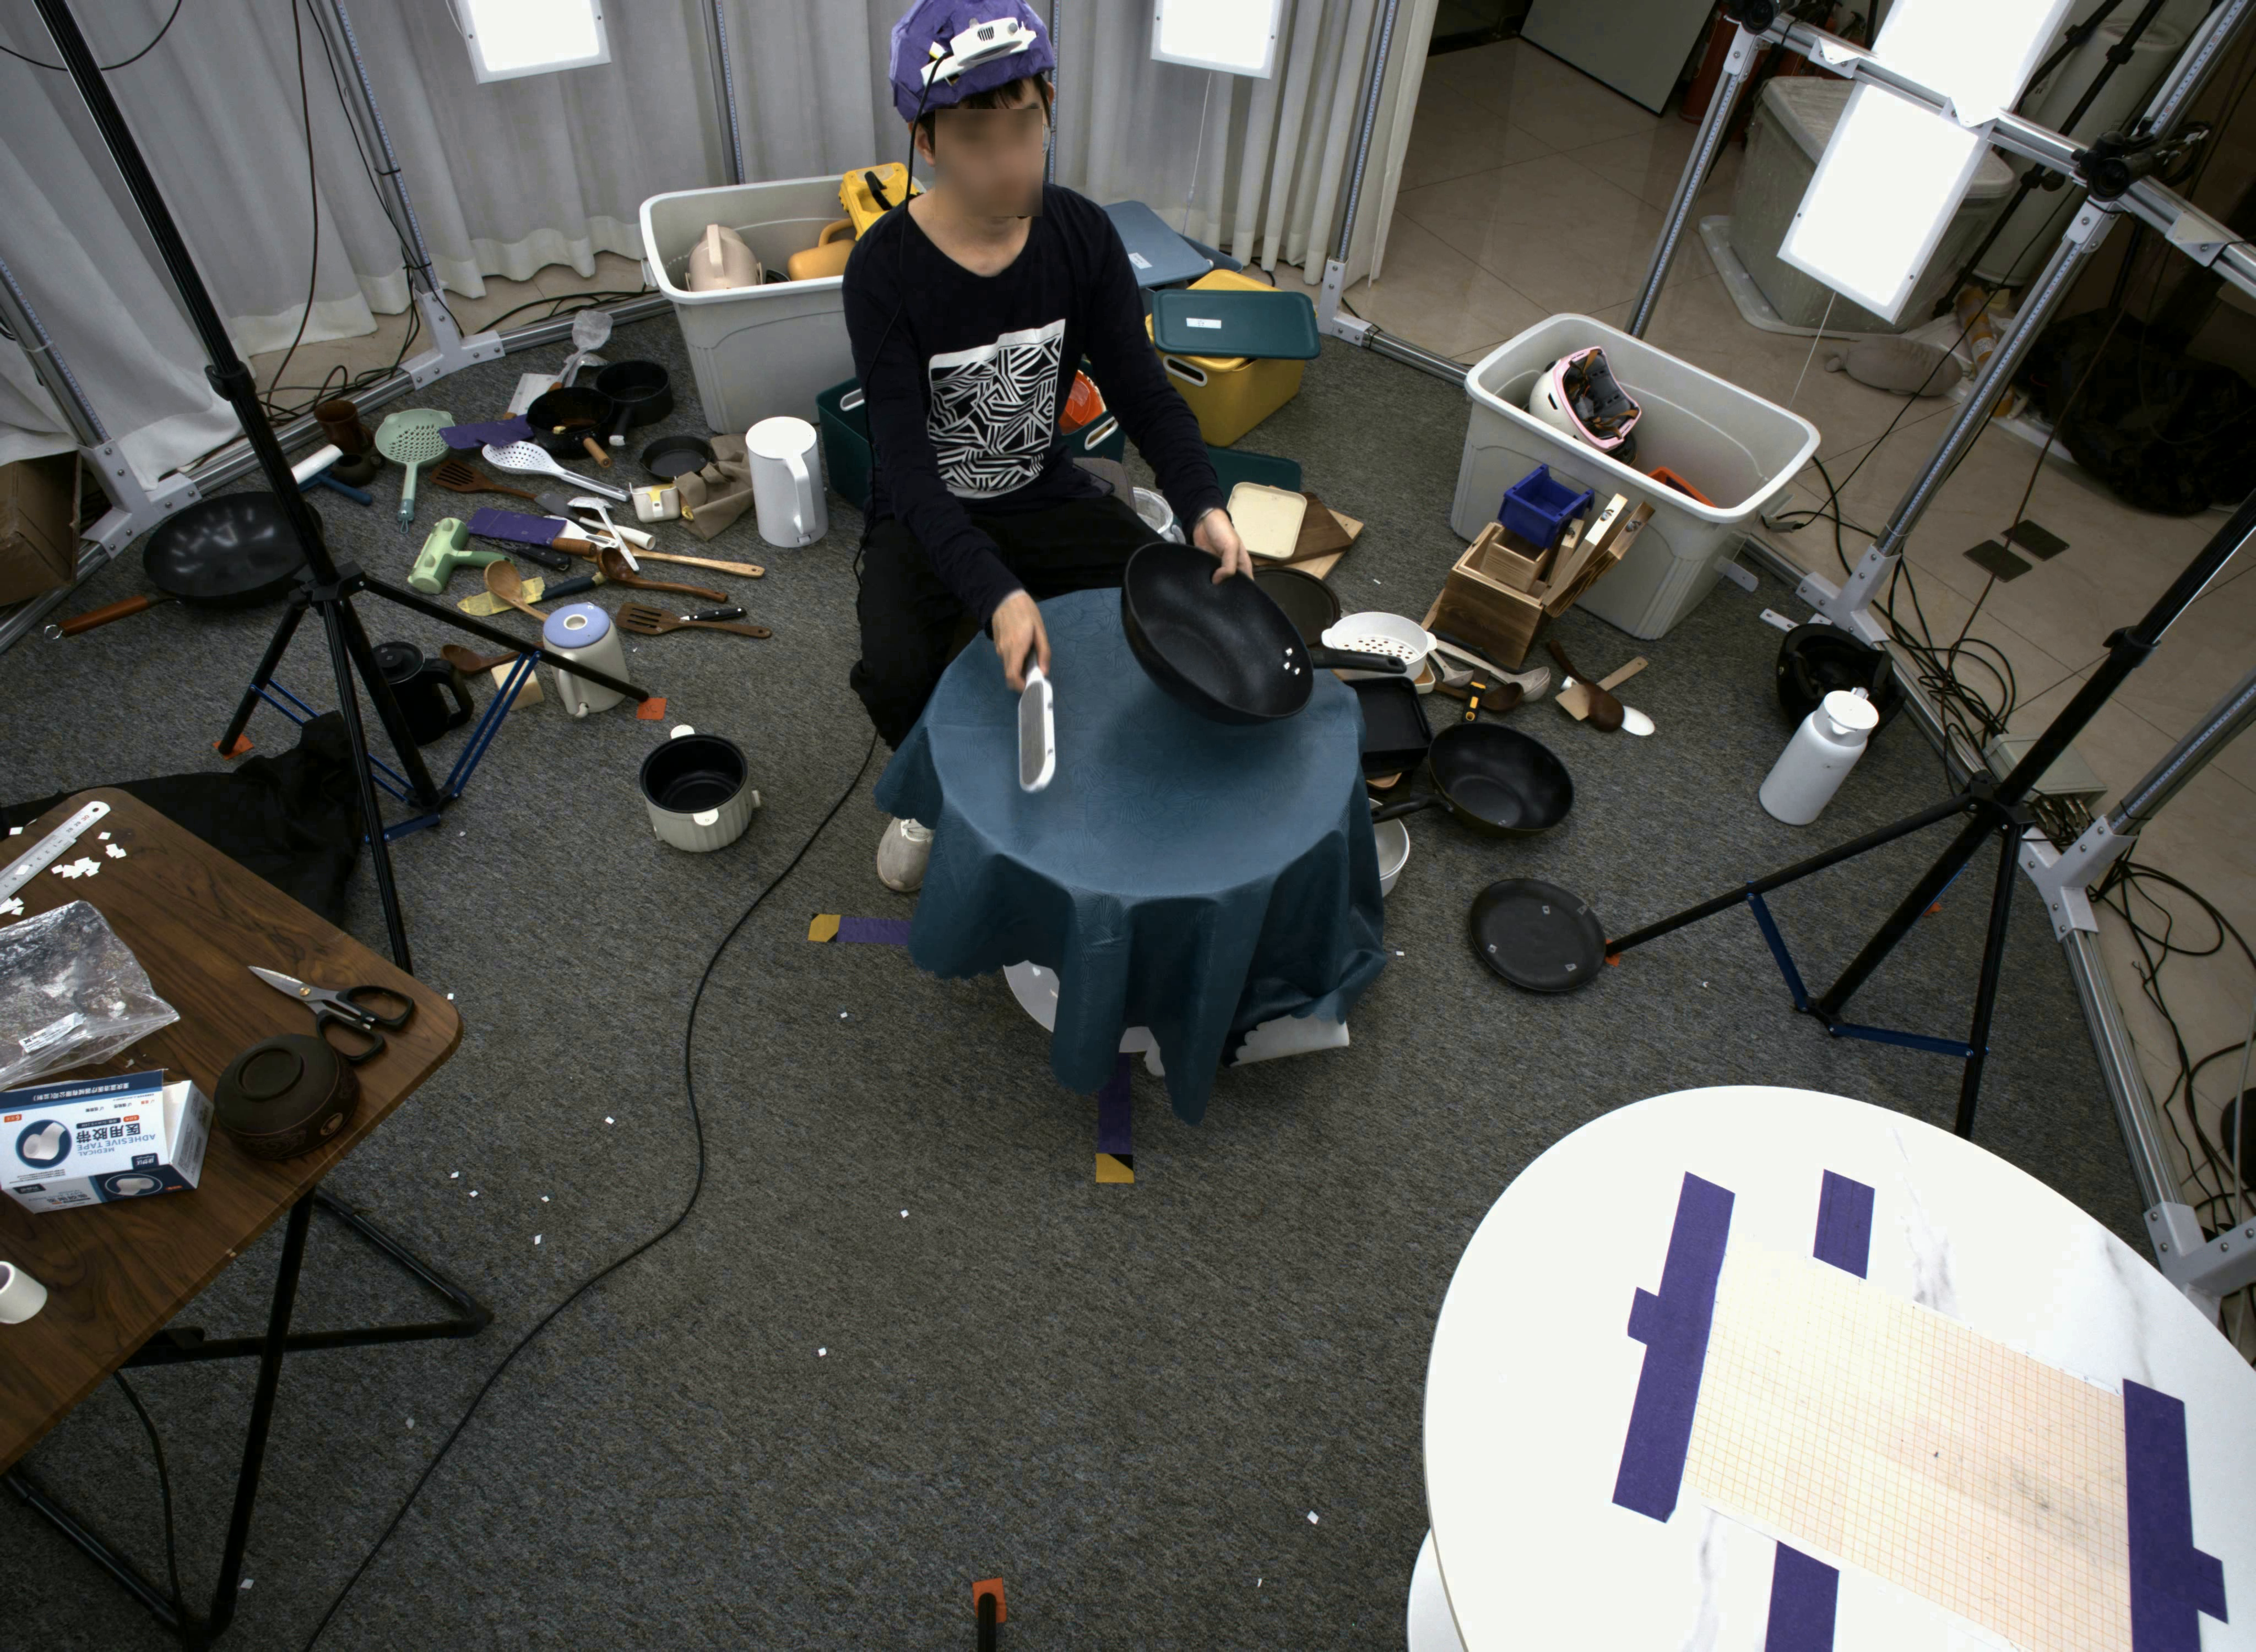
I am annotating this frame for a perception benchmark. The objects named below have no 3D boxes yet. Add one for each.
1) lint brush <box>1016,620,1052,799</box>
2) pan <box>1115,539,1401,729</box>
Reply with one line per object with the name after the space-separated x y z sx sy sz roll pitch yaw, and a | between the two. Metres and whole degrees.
-0.127 -0.164 1.723 0.020 0.059 0.316 29 41 -35 | lint brush
0.174 -0.237 1.775 0.473 0.110 0.317 10 50 -33 | pan
